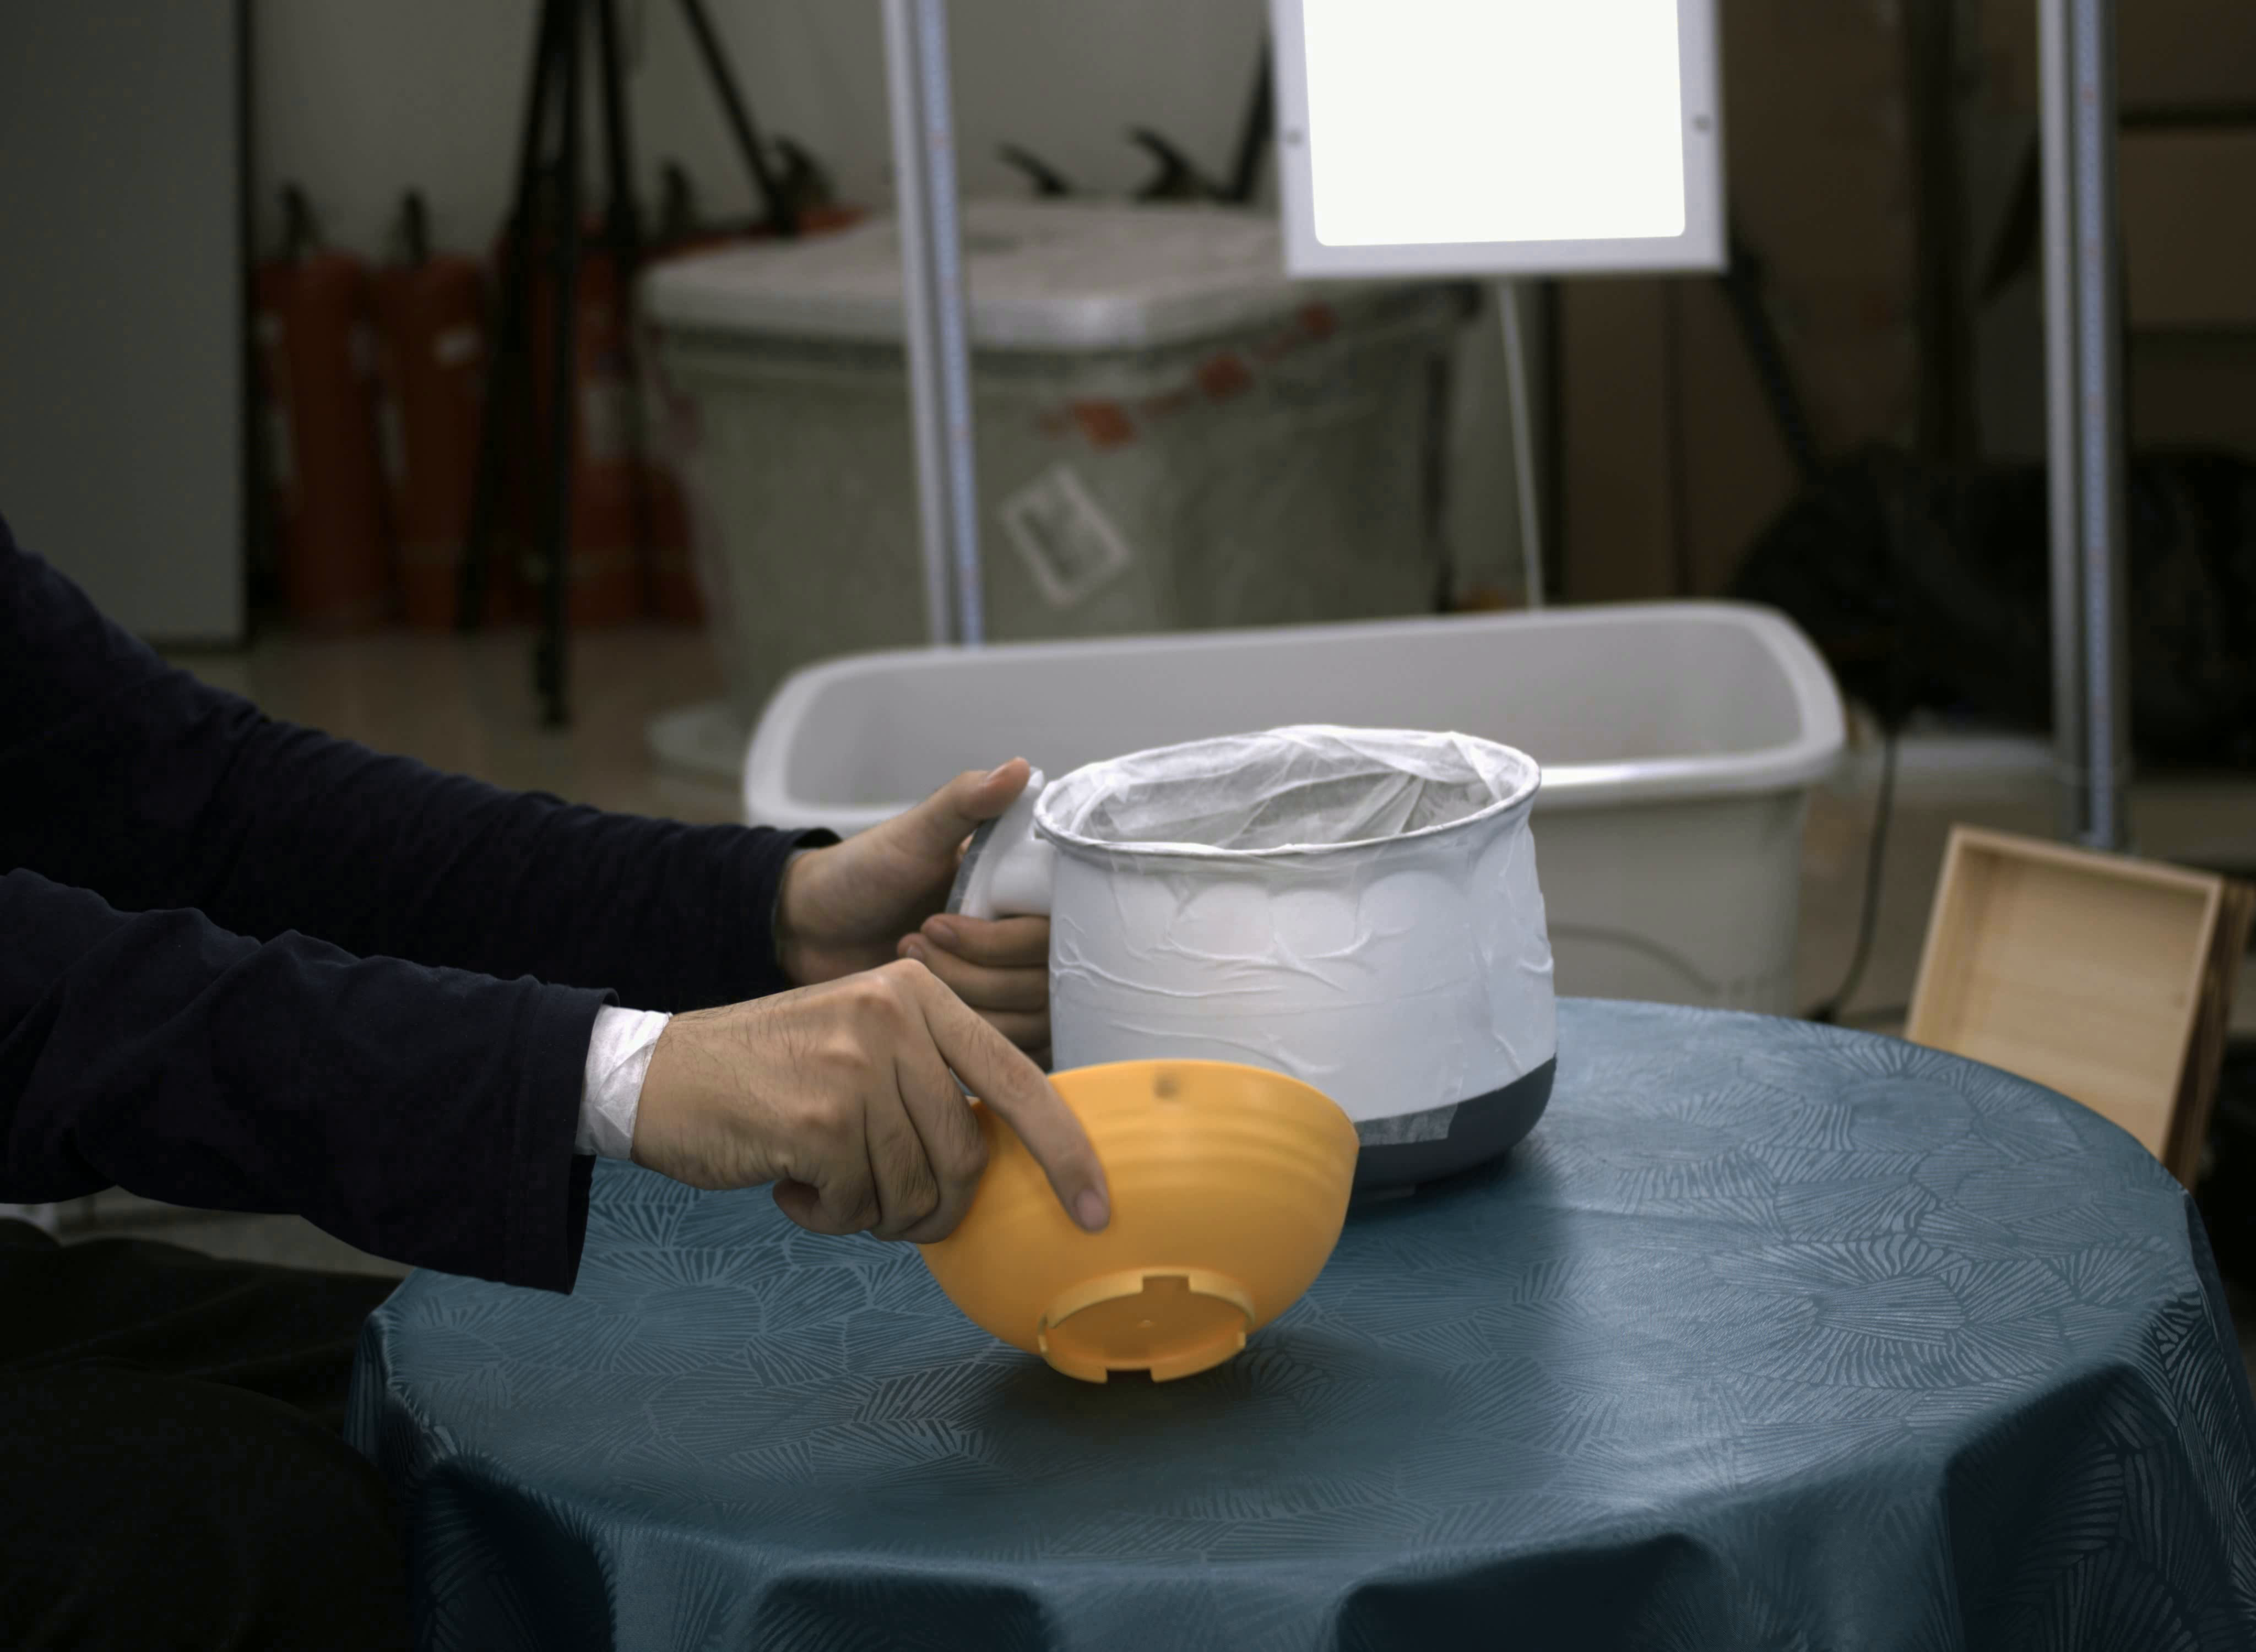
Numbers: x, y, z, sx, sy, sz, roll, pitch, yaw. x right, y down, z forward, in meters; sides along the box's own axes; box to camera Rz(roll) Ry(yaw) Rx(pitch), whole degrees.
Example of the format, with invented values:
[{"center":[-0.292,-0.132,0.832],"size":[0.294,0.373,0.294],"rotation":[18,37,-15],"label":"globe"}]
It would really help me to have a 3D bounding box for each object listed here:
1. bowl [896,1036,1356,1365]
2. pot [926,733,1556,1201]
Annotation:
[{"center":[0.000,0.125,1.688],"size":[0.145,0.060,0.146],"rotation":[1,-31,-1],"label":"bowl"},{"center":[0.035,0.046,1.927],"size":[0.237,0.137,0.175],"rotation":[2,13,25],"label":"pot"}]
